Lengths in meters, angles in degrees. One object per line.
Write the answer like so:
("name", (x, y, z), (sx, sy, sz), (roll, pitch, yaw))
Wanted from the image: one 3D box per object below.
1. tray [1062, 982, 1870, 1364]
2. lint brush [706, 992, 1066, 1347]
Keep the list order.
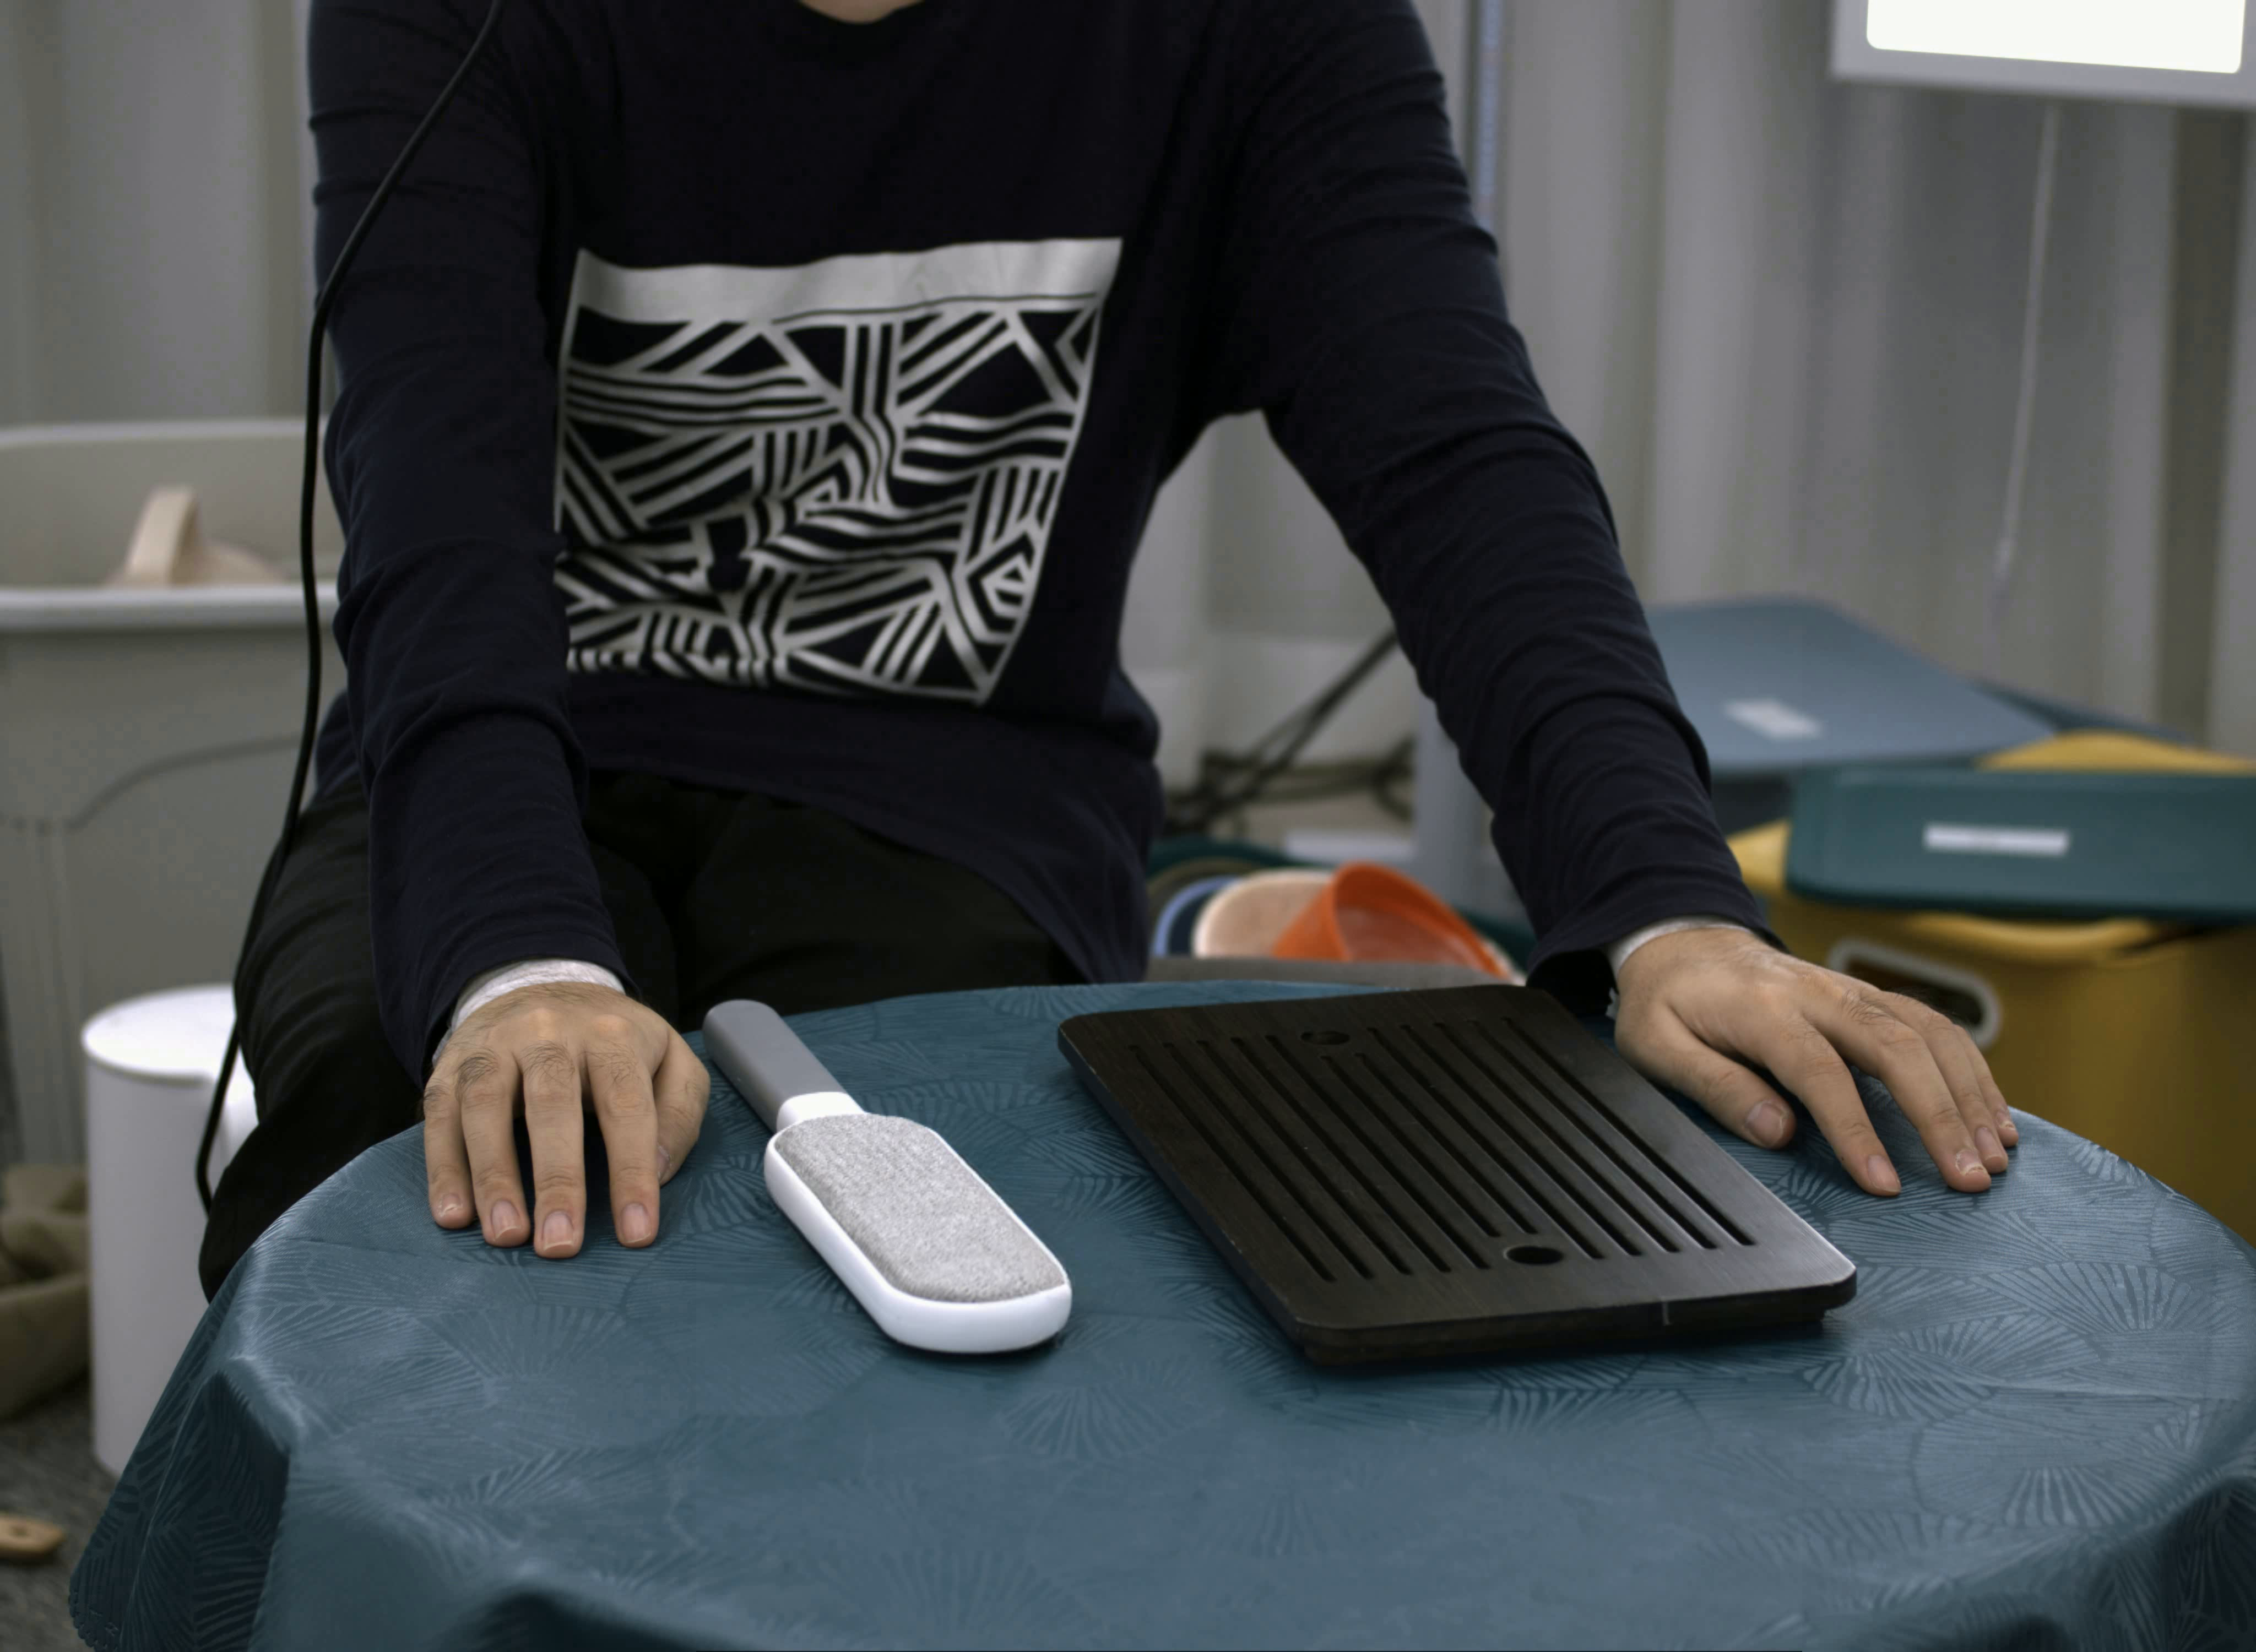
("tray", (0.096, 0.104, 1.628), (0.170, 0.019, 0.303), (-4, 16, -15))
("lint brush", (-0.082, 0.101, 1.615), (0.060, 0.021, 0.305), (-10, 18, -16))
